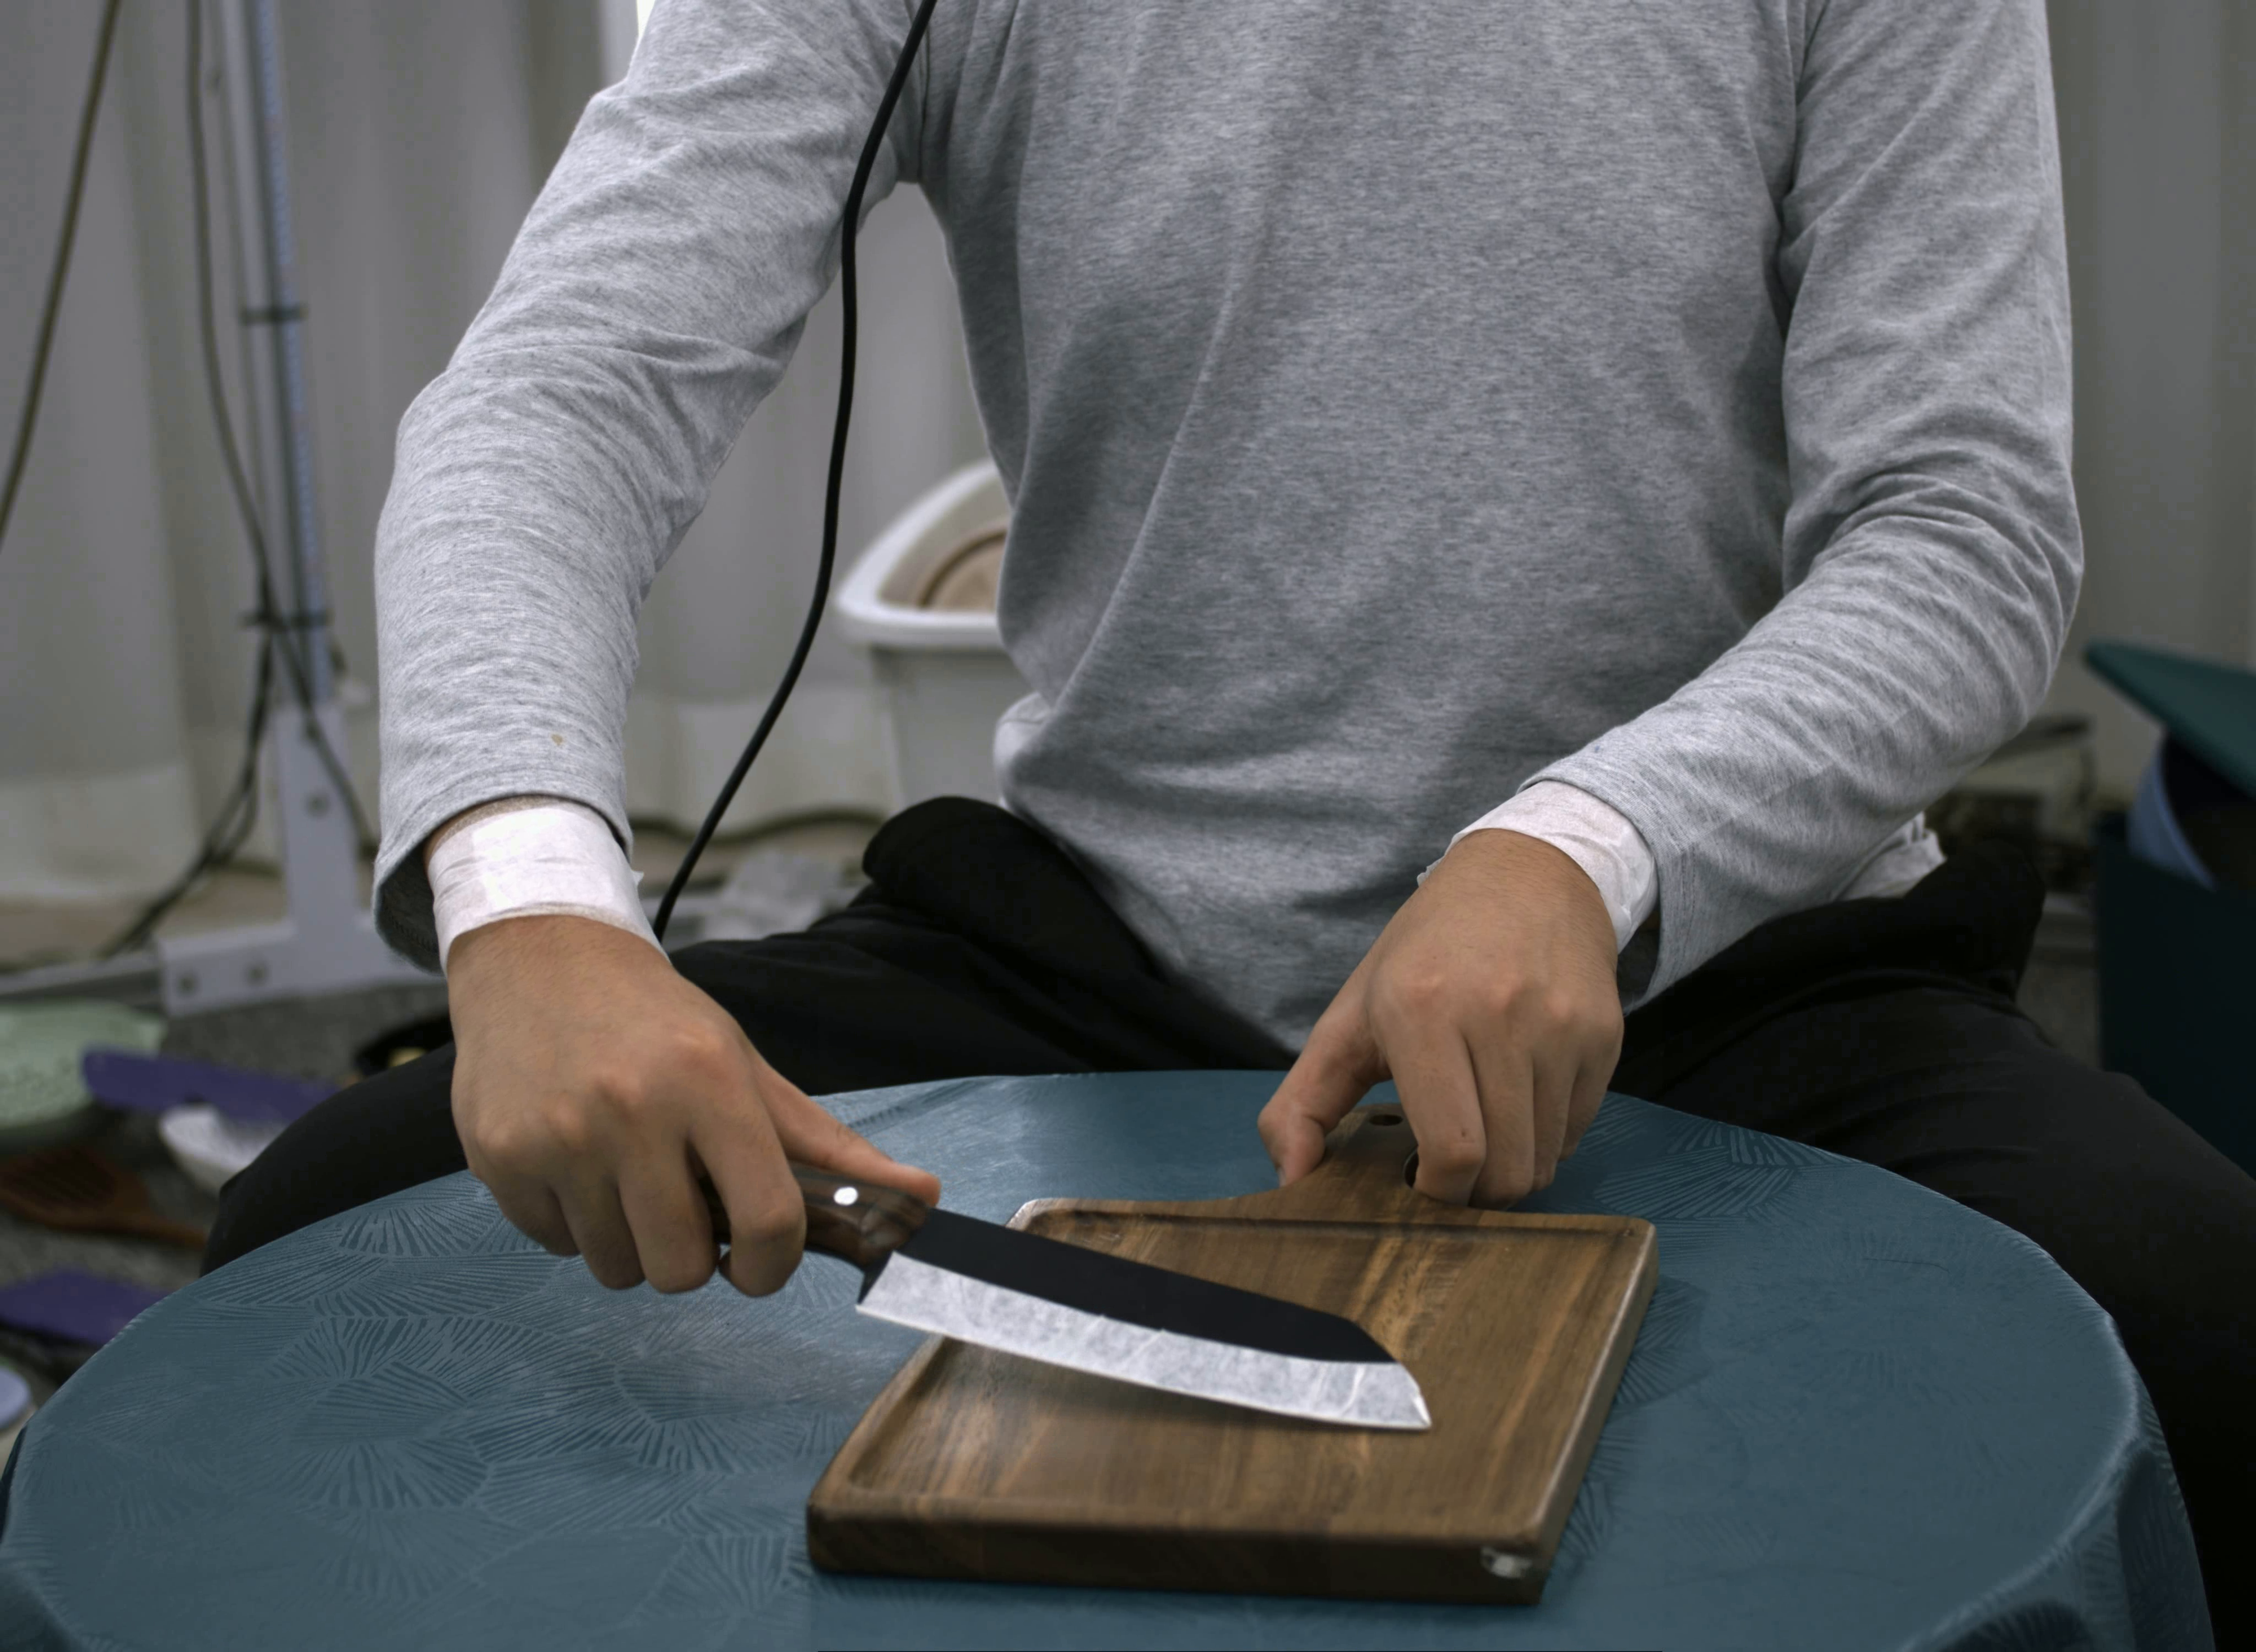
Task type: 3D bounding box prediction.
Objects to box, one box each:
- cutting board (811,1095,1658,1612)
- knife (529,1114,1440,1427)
[{"bbox_3d":[0.047,0.142,1.564,0.201,0.023,0.354,2,16,12],"label":"cutting board"},{"bbox_3d":[-0.045,0.125,1.522,0.290,0.020,0.051,14,46,23],"label":"knife"}]
